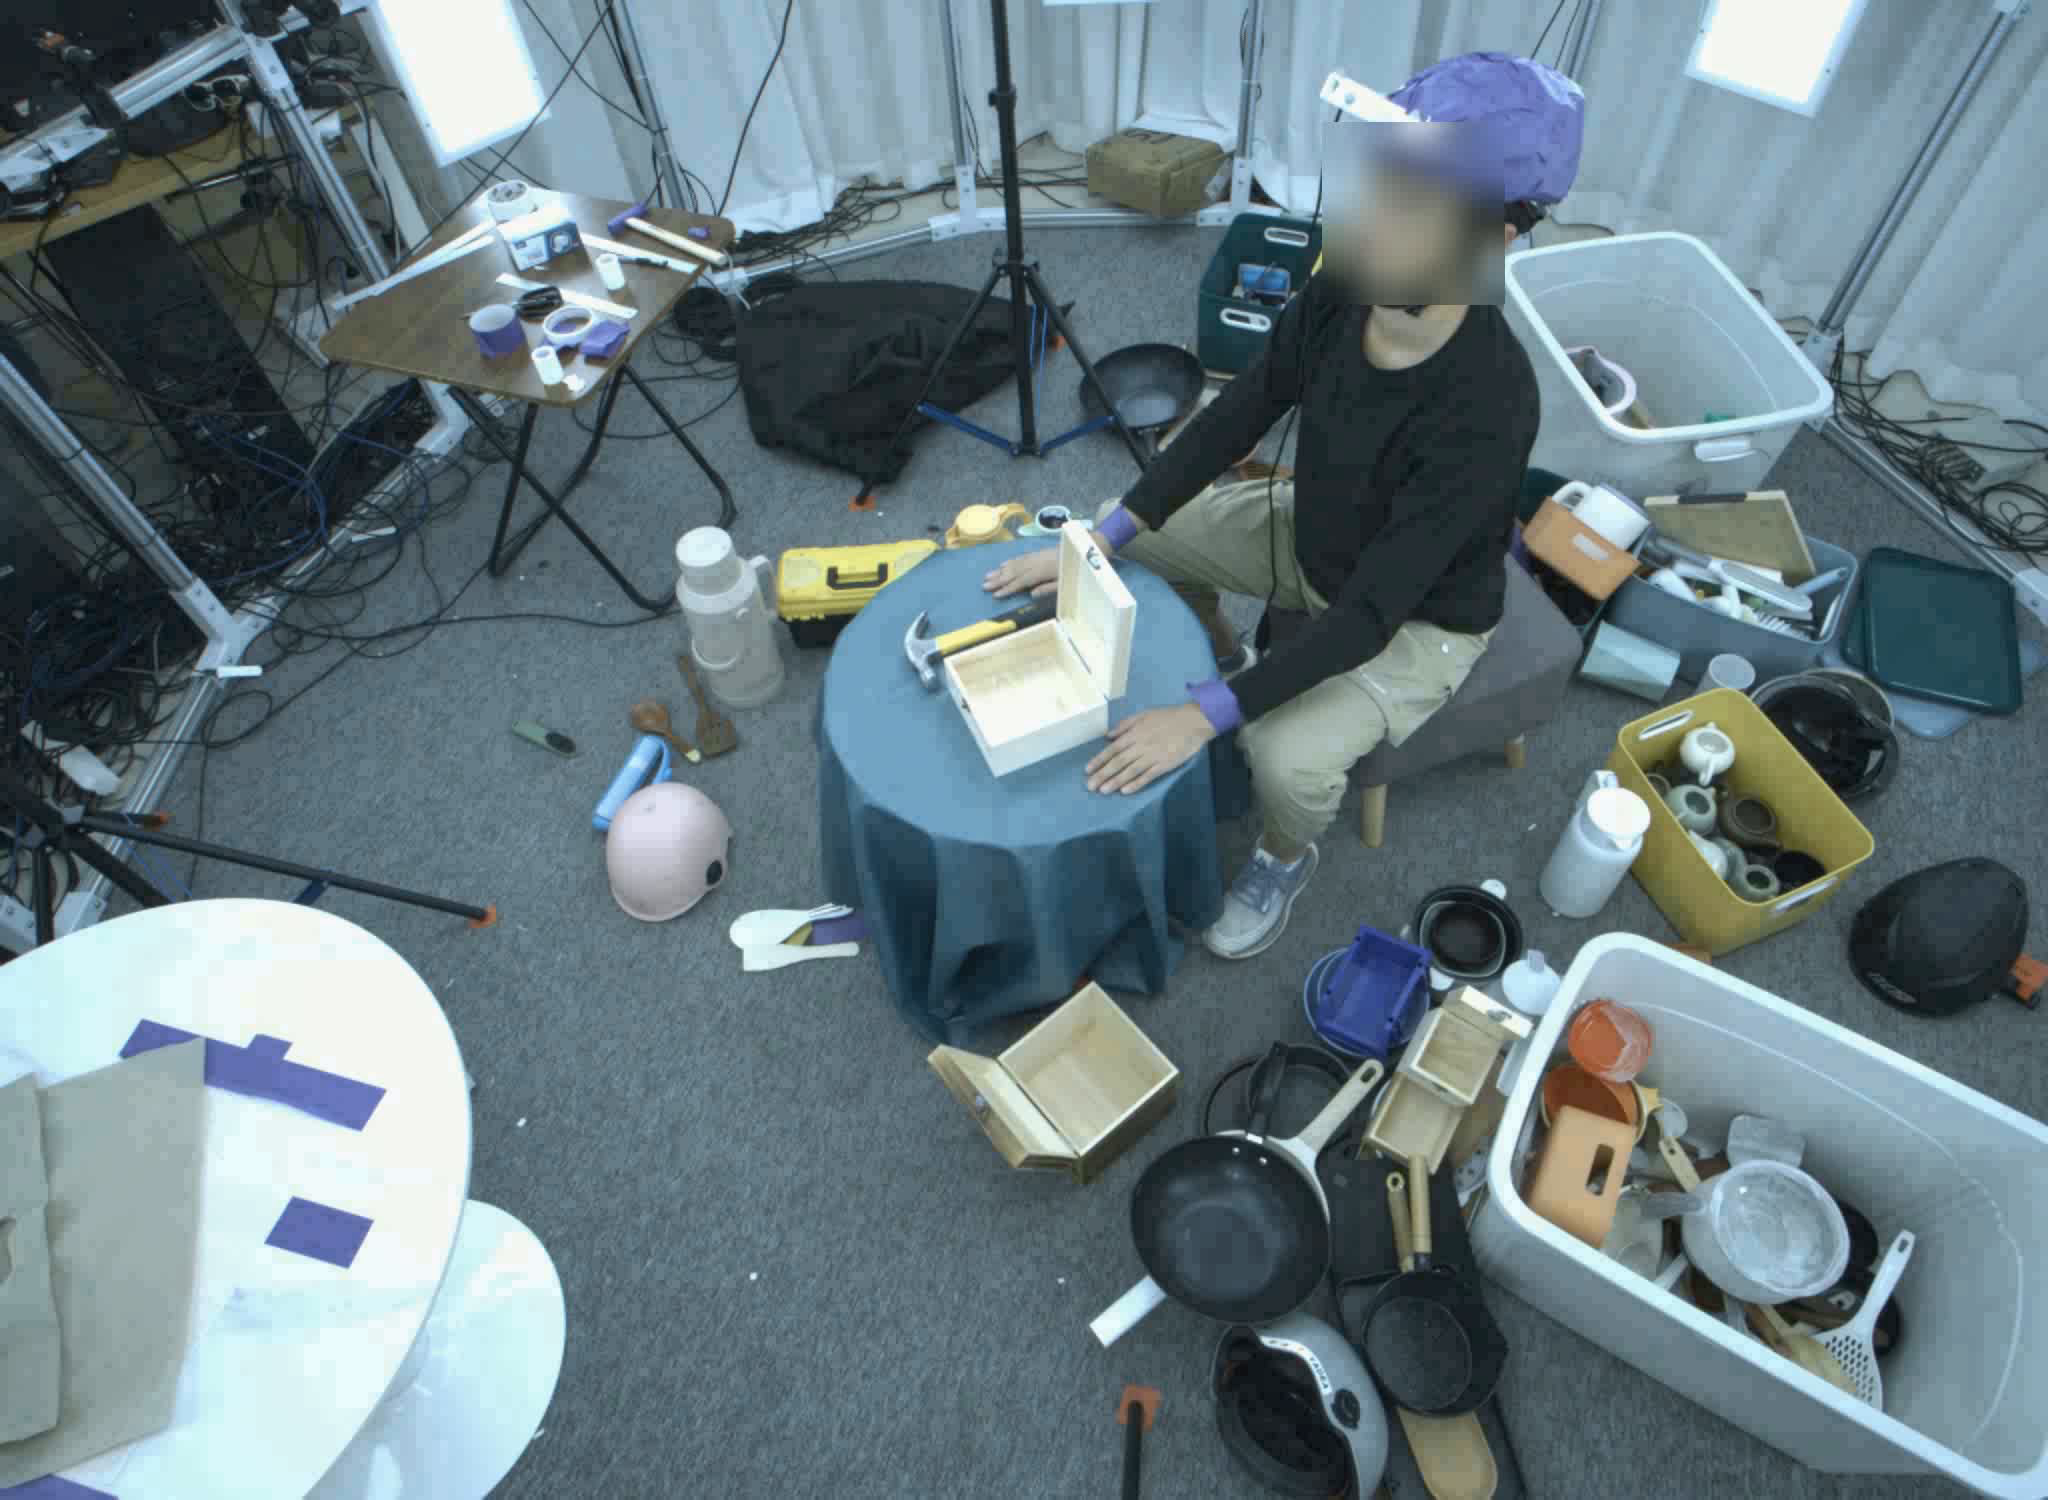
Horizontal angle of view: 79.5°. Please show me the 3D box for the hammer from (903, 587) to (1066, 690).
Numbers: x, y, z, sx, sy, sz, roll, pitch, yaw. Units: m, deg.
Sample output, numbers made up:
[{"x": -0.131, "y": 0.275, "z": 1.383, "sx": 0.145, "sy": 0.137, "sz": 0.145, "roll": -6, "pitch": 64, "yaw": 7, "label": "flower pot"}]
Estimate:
[{"x": -0.026, "y": -0.203, "z": 1.906, "sx": 0.341, "sy": 0.032, "sz": 0.129, "roll": -21, "pitch": 57, "yaw": -11, "label": "hammer"}]

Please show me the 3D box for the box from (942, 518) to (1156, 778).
[{"x": 0.026, "y": -0.143, "z": 1.731, "sx": 0.267, "sy": 0.256, "sz": 0.178, "roll": -22, "pitch": 54, "yaw": -13, "label": "box"}]
